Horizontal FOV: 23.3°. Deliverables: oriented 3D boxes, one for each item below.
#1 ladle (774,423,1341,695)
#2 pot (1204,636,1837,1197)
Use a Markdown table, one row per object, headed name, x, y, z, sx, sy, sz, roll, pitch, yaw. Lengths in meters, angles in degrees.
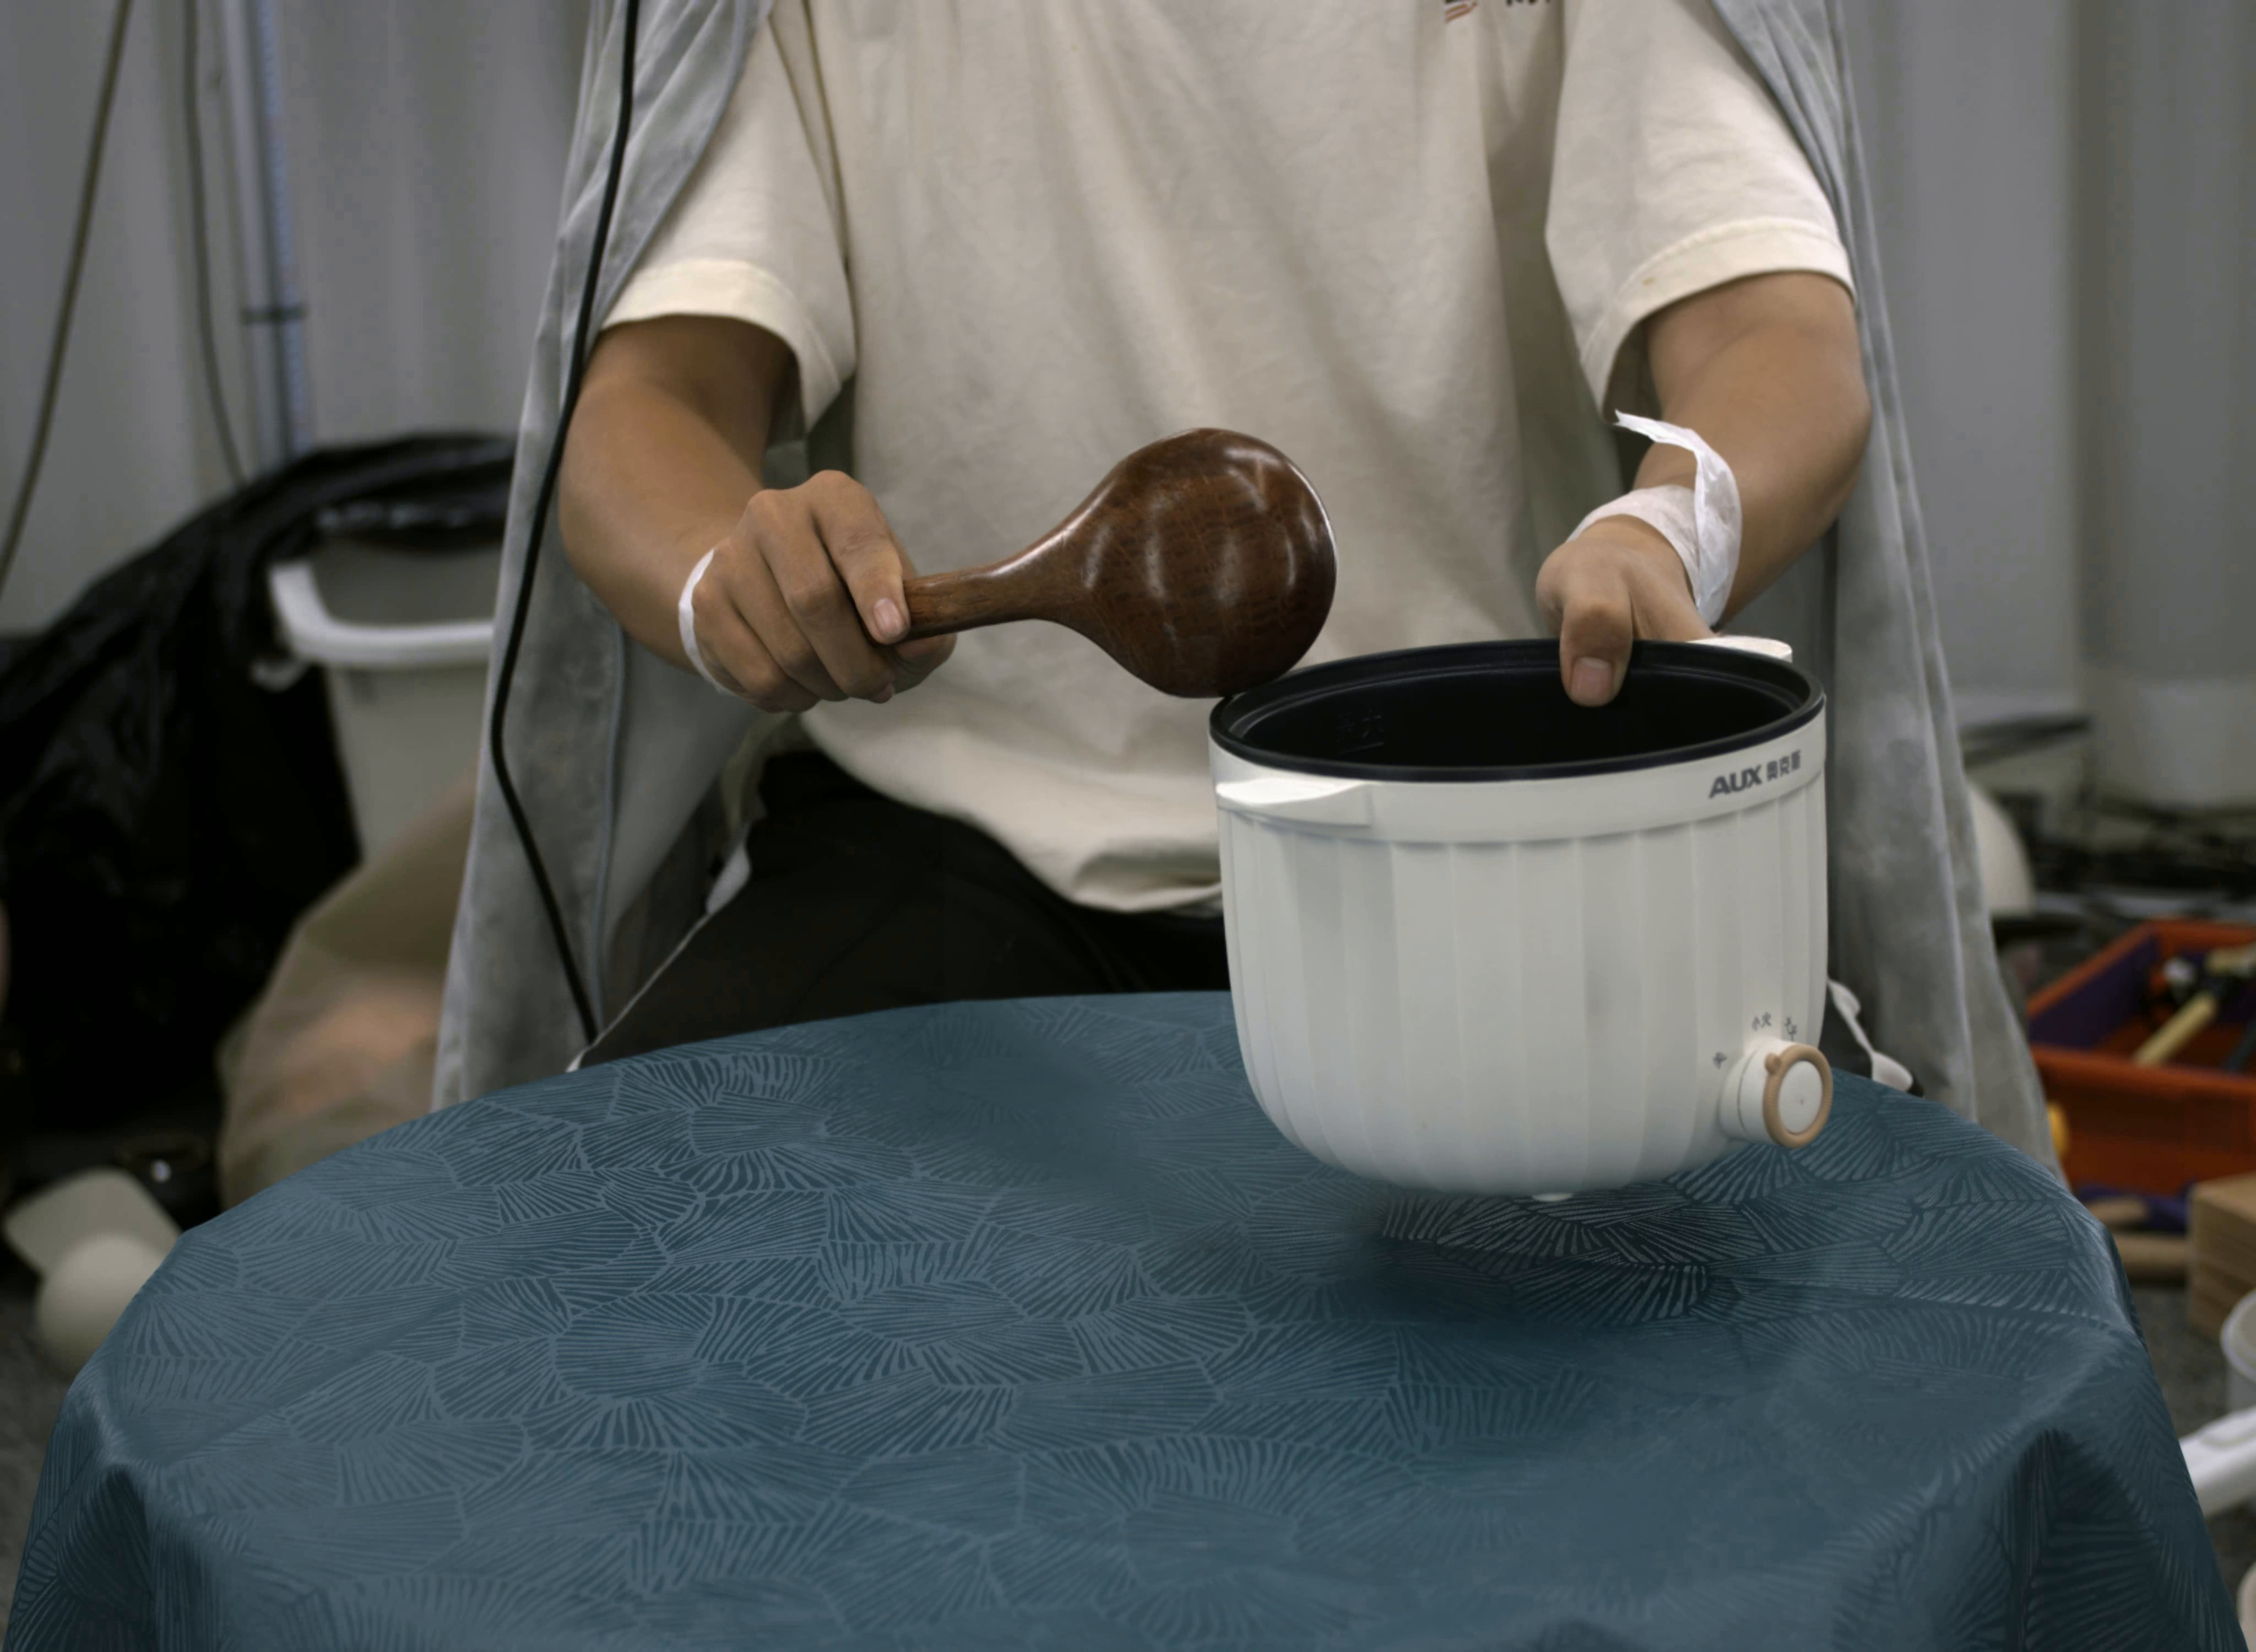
| name | x | y | z | sx | sy | sz | roll | pitch | yaw |
| --- | --- | --- | --- | --- | --- | --- | --- | --- | --- |
| ladle | -0.025 | -0.072 | 1.731 | 0.076 | 0.082 | 0.274 | 4 | -6 | -26 |
| pot | 0.122 | 0.028 | 1.619 | 0.191 | 0.142 | 0.240 | 4 | 15 | 44 |
